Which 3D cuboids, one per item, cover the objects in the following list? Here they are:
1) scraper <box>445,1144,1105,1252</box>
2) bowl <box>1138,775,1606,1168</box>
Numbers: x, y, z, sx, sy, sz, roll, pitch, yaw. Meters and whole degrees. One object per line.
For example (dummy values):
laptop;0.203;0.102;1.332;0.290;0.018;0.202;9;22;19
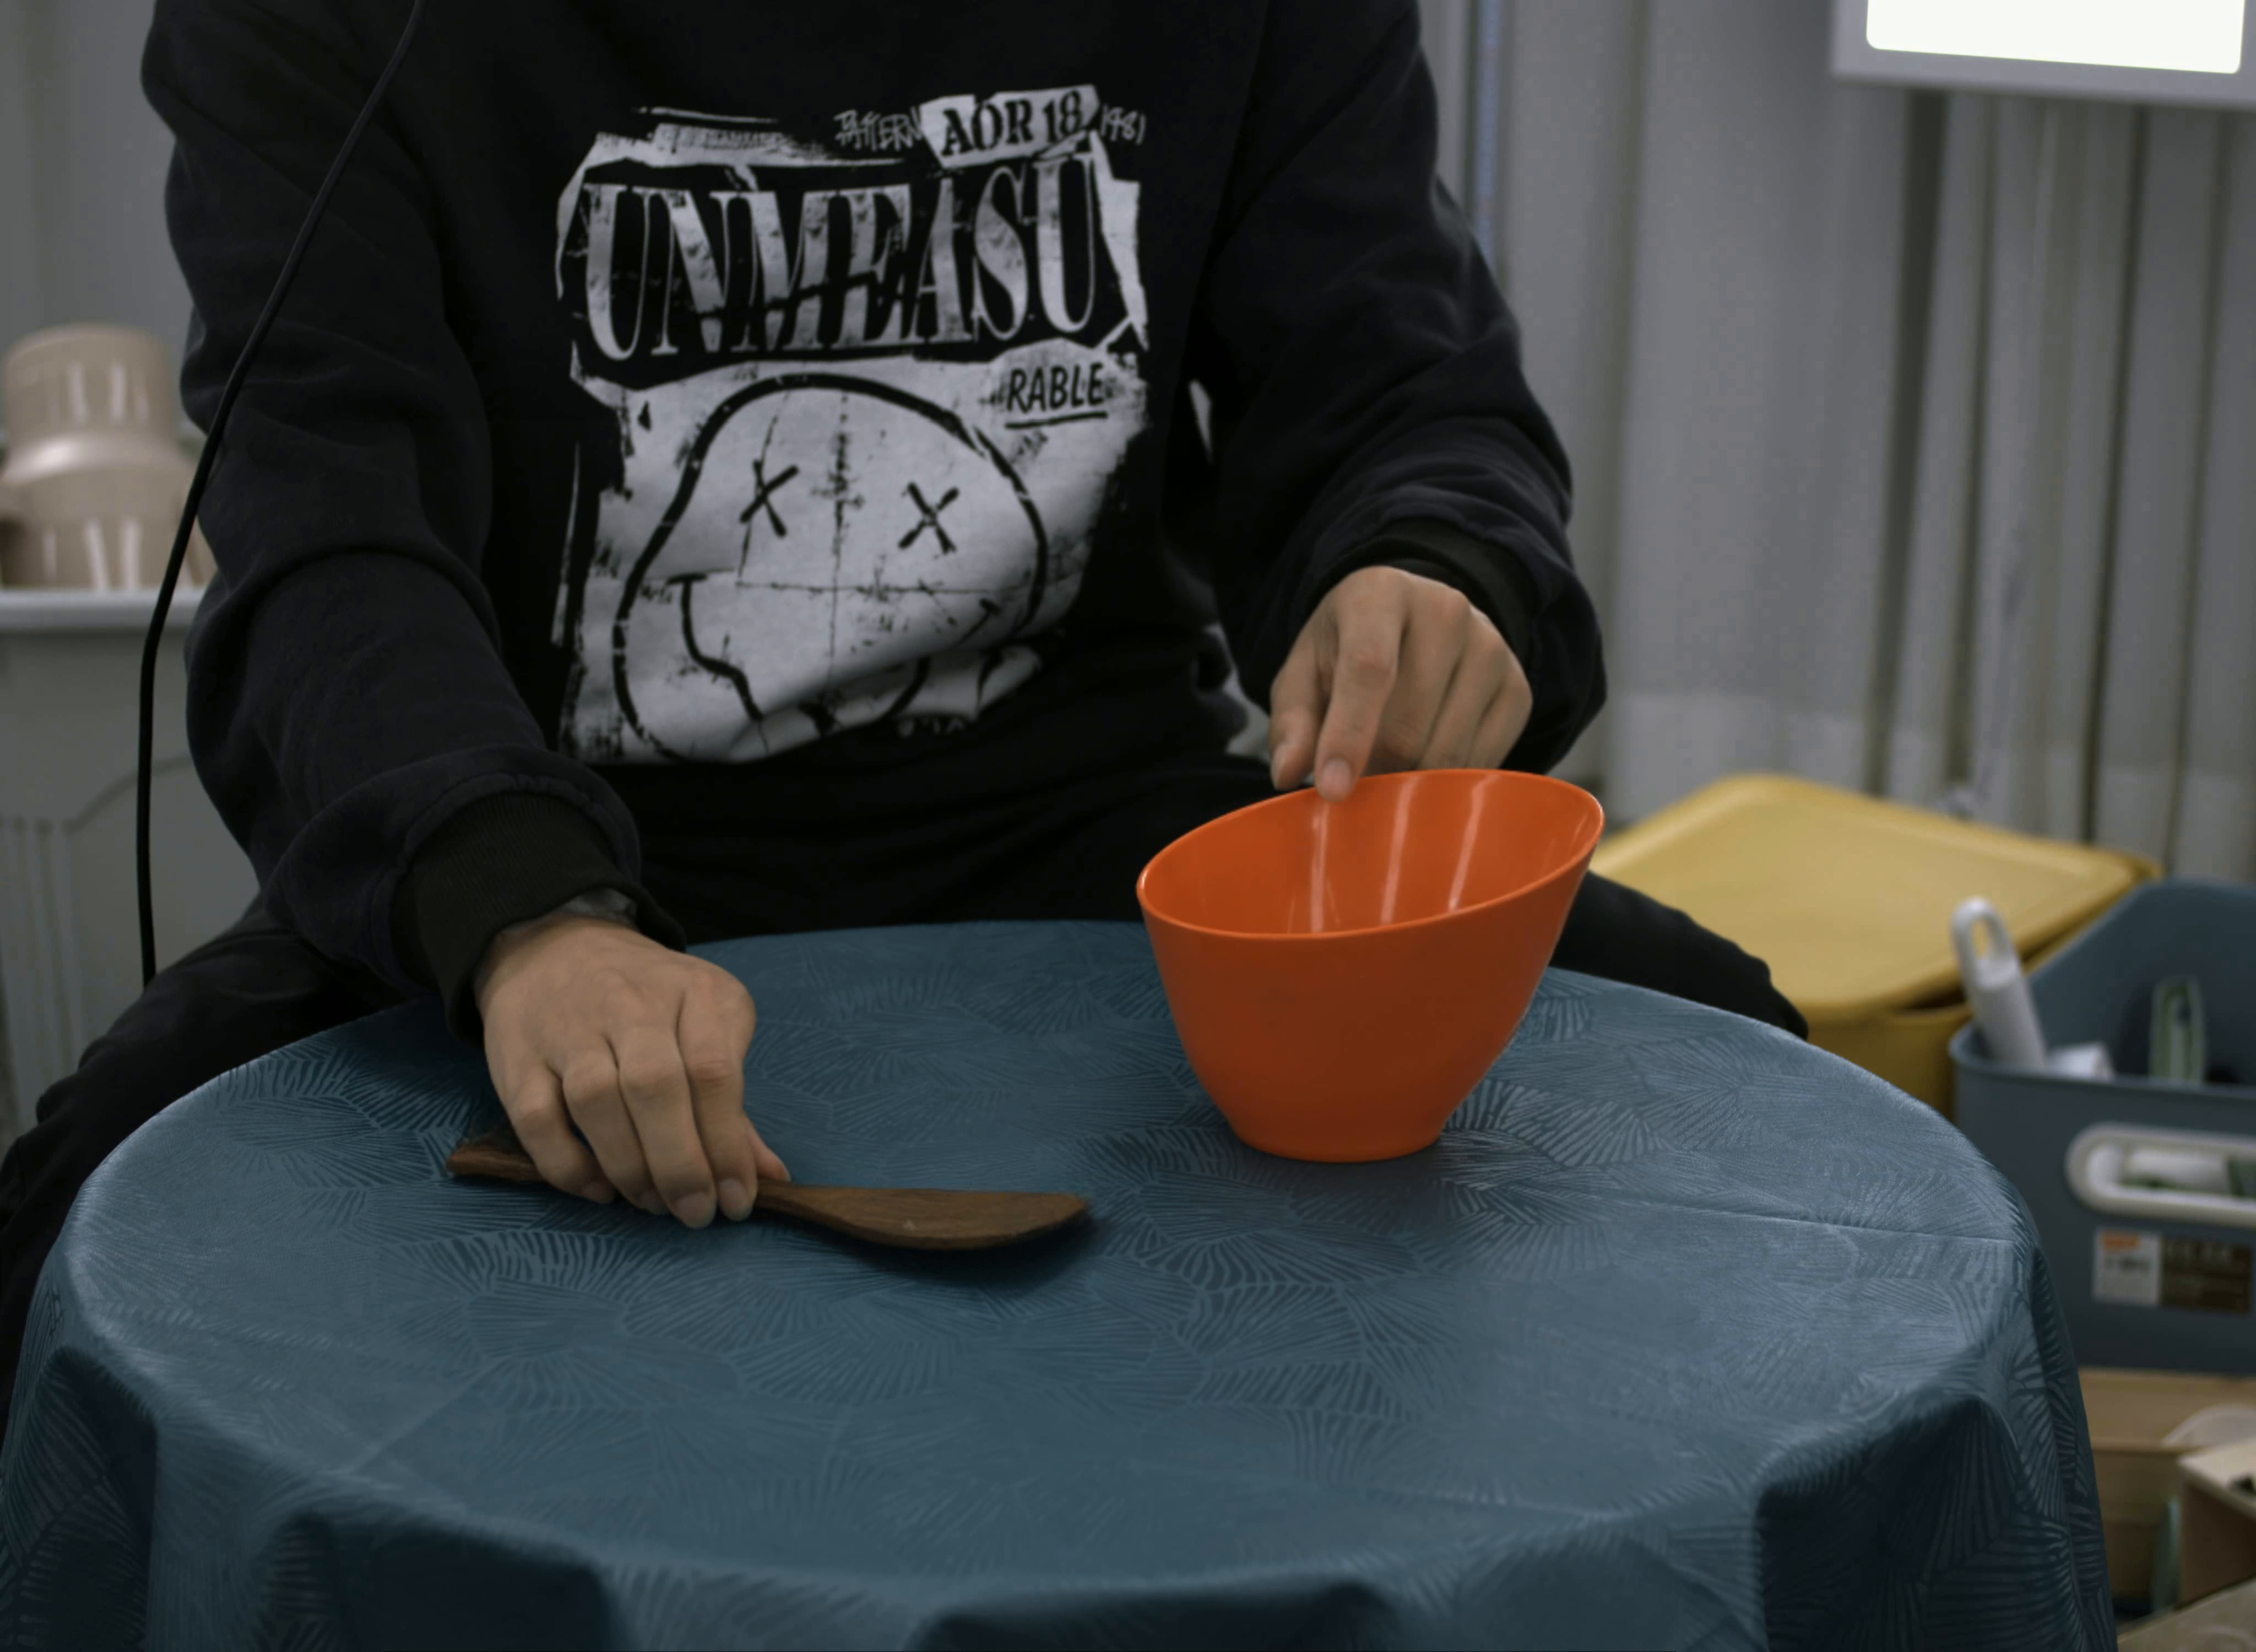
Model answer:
scraper;-0.112;0.112;1.602;0.209;0.011;0.076;5;8;21
bowl;0.077;0.048;1.671;0.147;0.105;0.147;1;17;0
